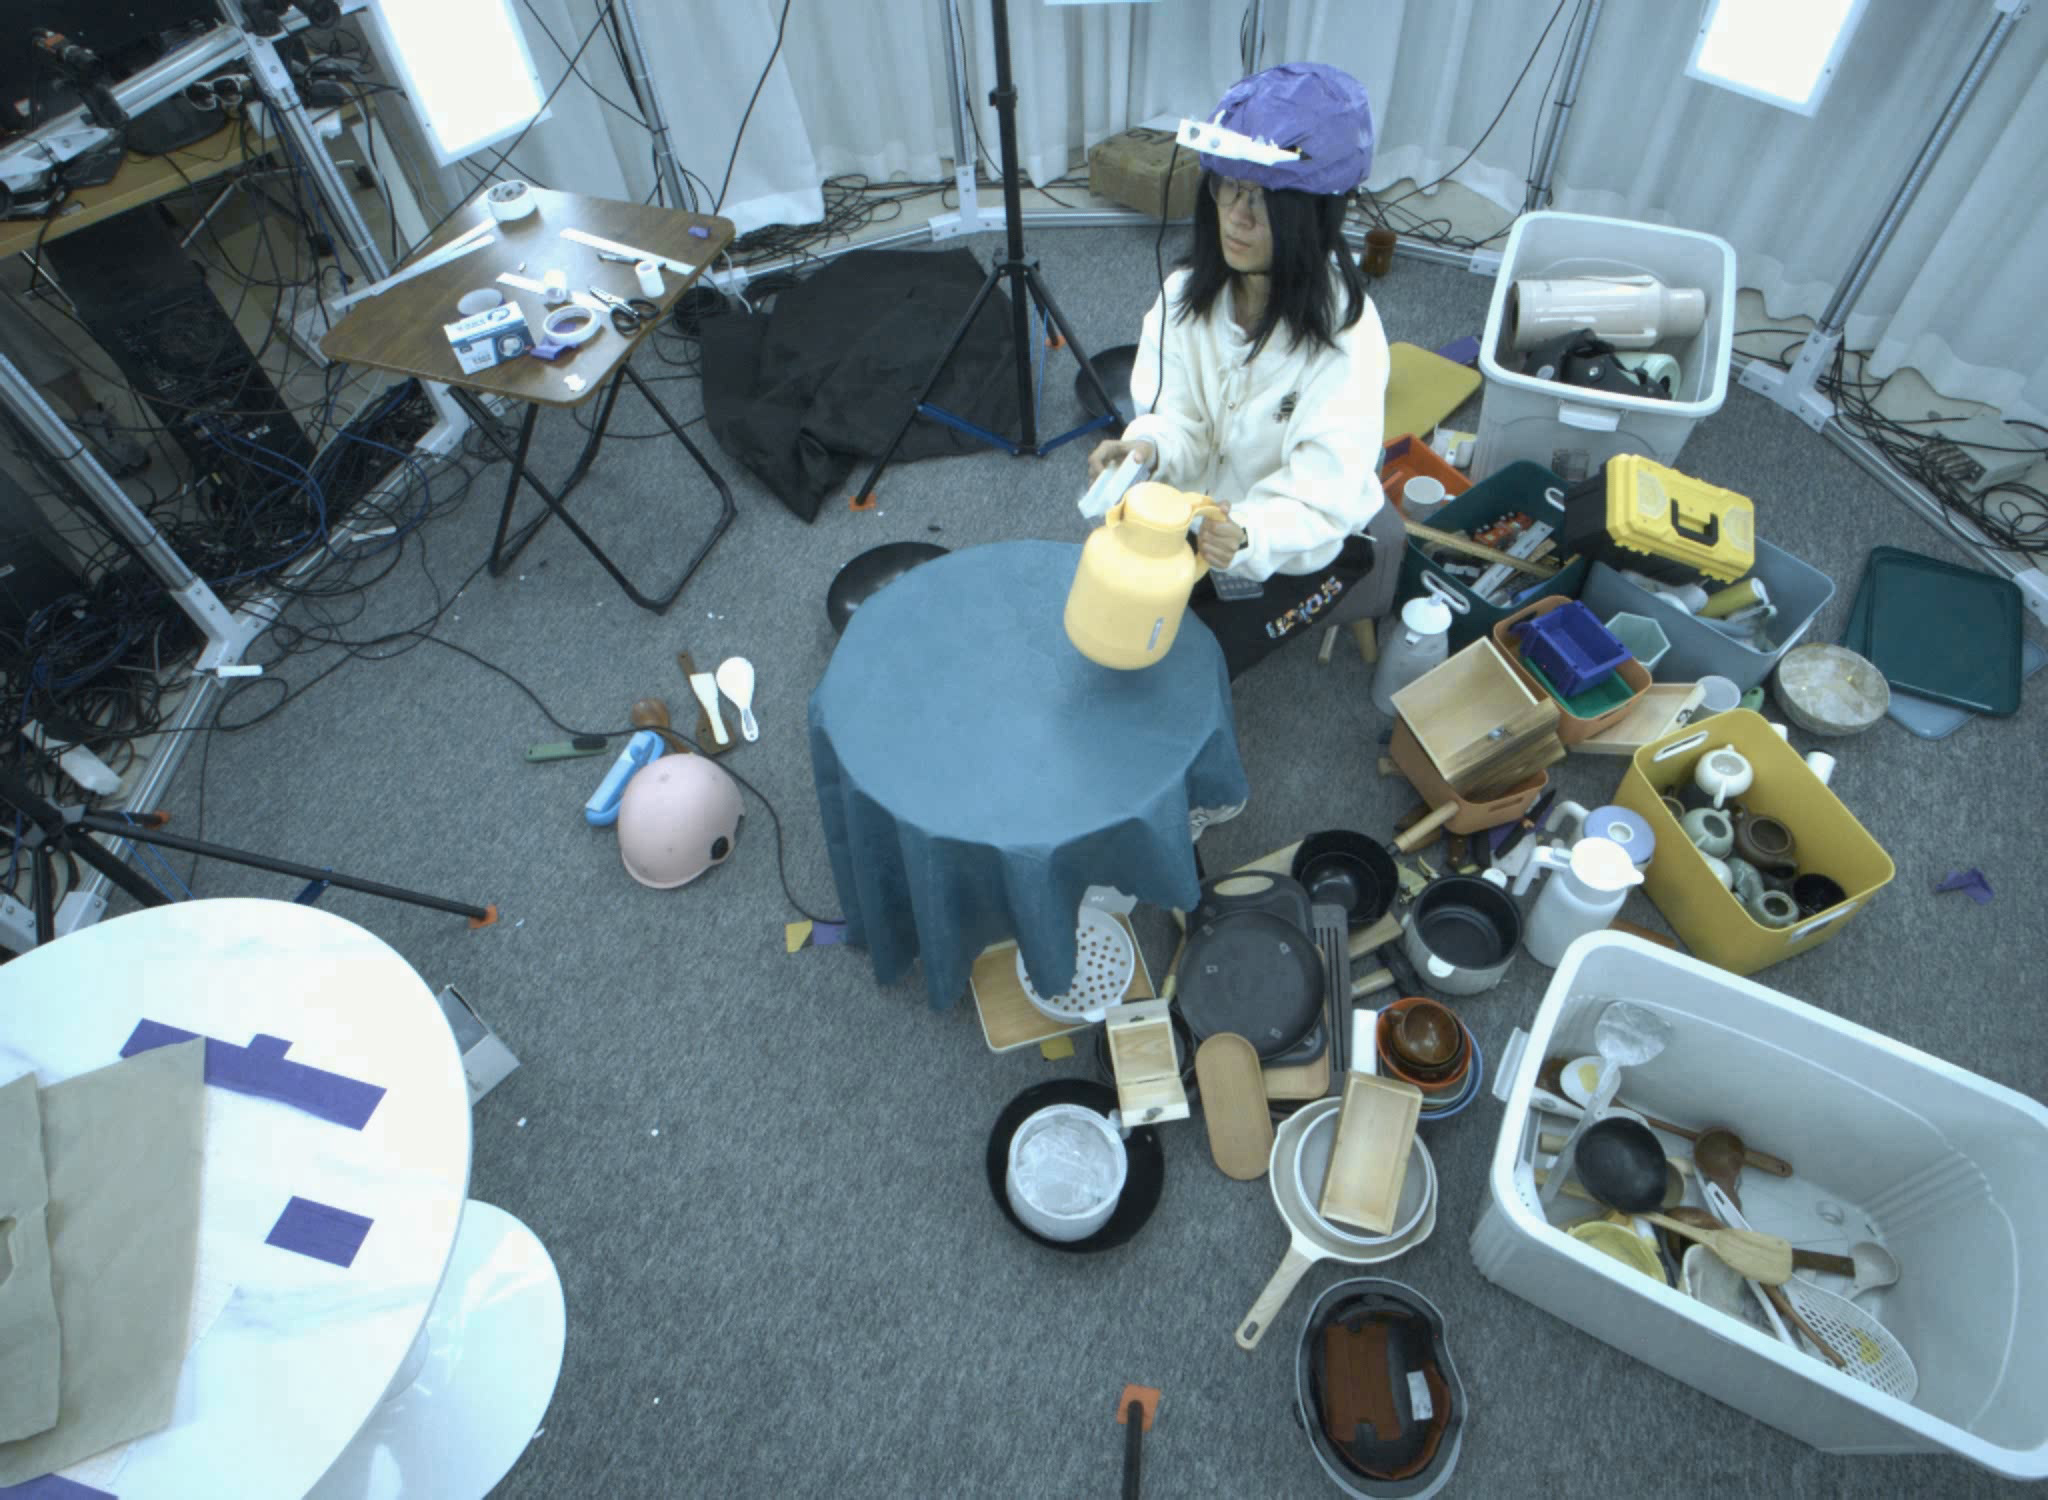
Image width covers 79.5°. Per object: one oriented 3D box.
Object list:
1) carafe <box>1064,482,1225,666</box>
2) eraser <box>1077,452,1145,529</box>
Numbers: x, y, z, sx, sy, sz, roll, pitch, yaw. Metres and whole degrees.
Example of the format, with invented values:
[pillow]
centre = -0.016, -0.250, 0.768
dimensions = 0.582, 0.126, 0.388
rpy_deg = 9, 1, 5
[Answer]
[carafe]
centre = 0.172, -0.251, 1.709
dimensions = 0.205, 0.261, 0.161
rpy_deg = -14, 58, -24
[eraser]
centre = 0.123, -0.363, 1.707
dimensions = 0.049, 0.047, 0.134
rpy_deg = -23, 26, 37
